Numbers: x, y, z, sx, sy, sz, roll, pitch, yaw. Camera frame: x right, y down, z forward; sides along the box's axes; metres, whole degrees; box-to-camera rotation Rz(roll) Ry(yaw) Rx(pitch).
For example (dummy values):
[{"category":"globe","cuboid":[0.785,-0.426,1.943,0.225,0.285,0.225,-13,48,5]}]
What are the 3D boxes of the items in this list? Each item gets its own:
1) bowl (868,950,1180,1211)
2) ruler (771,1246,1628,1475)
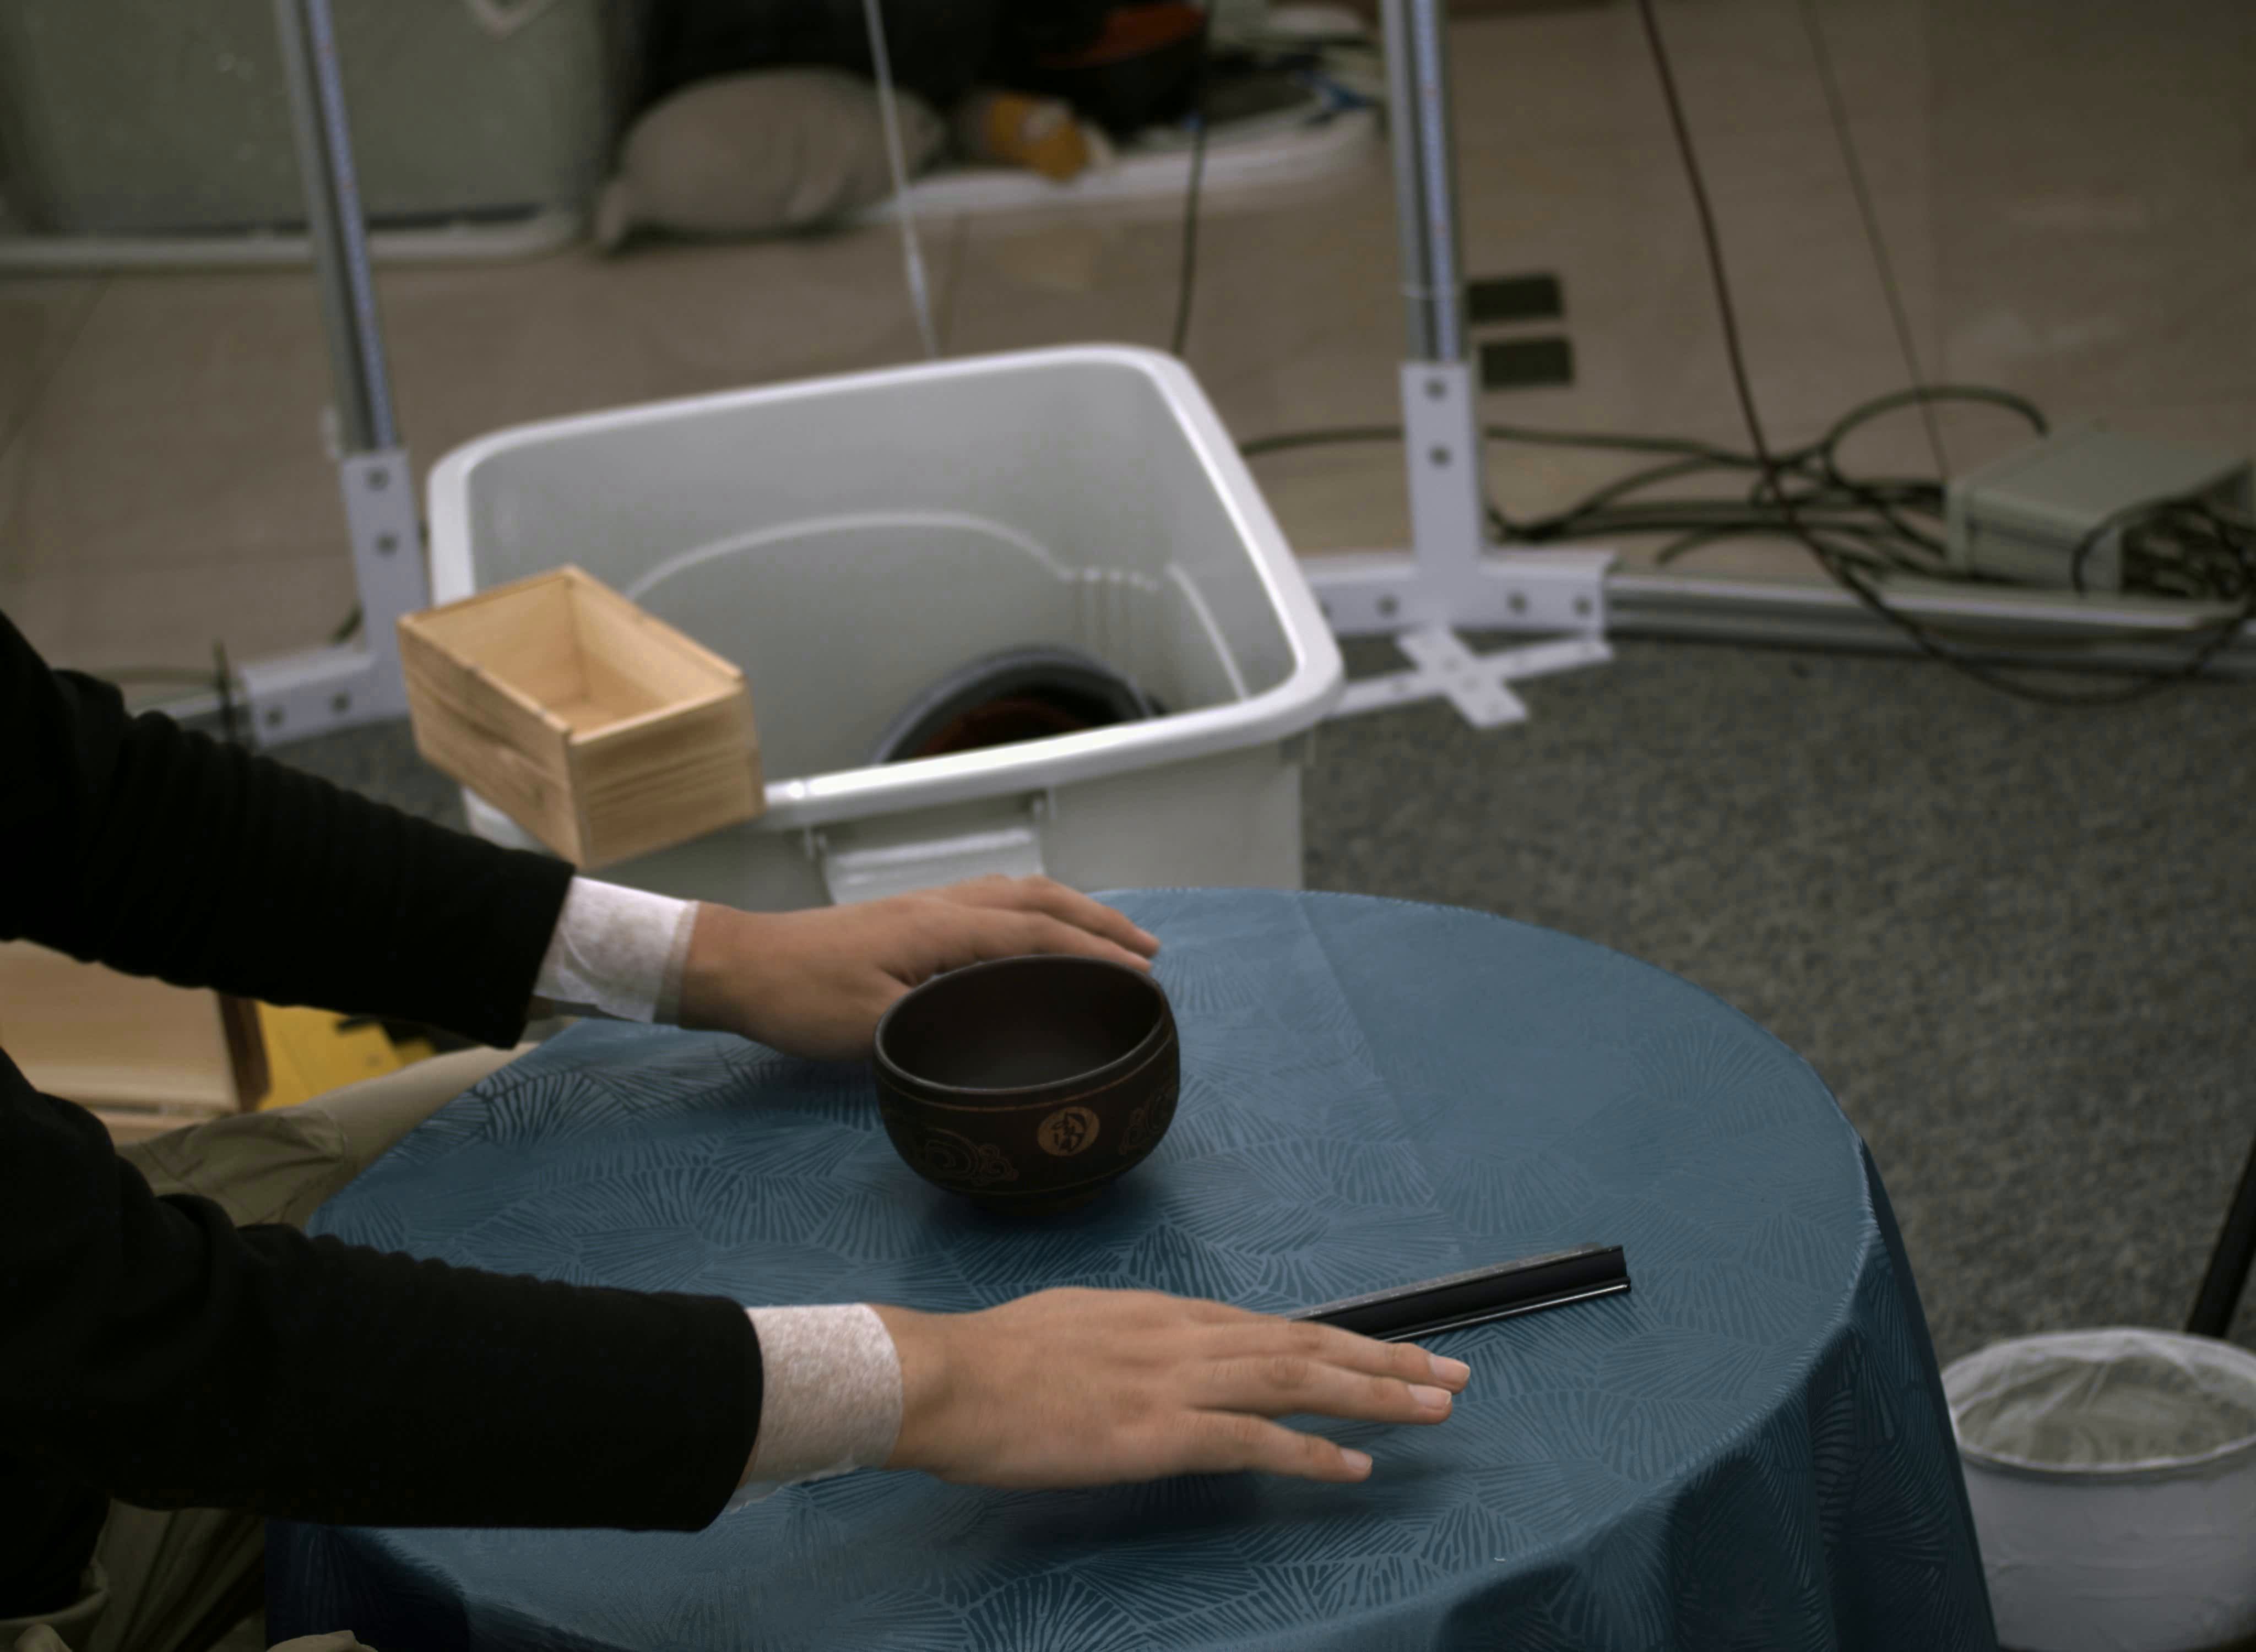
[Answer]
[{"category":"bowl","cuboid":[-0.038,0.102,2.147,0.118,0.071,0.116,-5,24,2]},{"category":"ruler","cuboid":[0.026,0.184,2.027,0.312,0.017,0.039,-12,21,-11]}]
